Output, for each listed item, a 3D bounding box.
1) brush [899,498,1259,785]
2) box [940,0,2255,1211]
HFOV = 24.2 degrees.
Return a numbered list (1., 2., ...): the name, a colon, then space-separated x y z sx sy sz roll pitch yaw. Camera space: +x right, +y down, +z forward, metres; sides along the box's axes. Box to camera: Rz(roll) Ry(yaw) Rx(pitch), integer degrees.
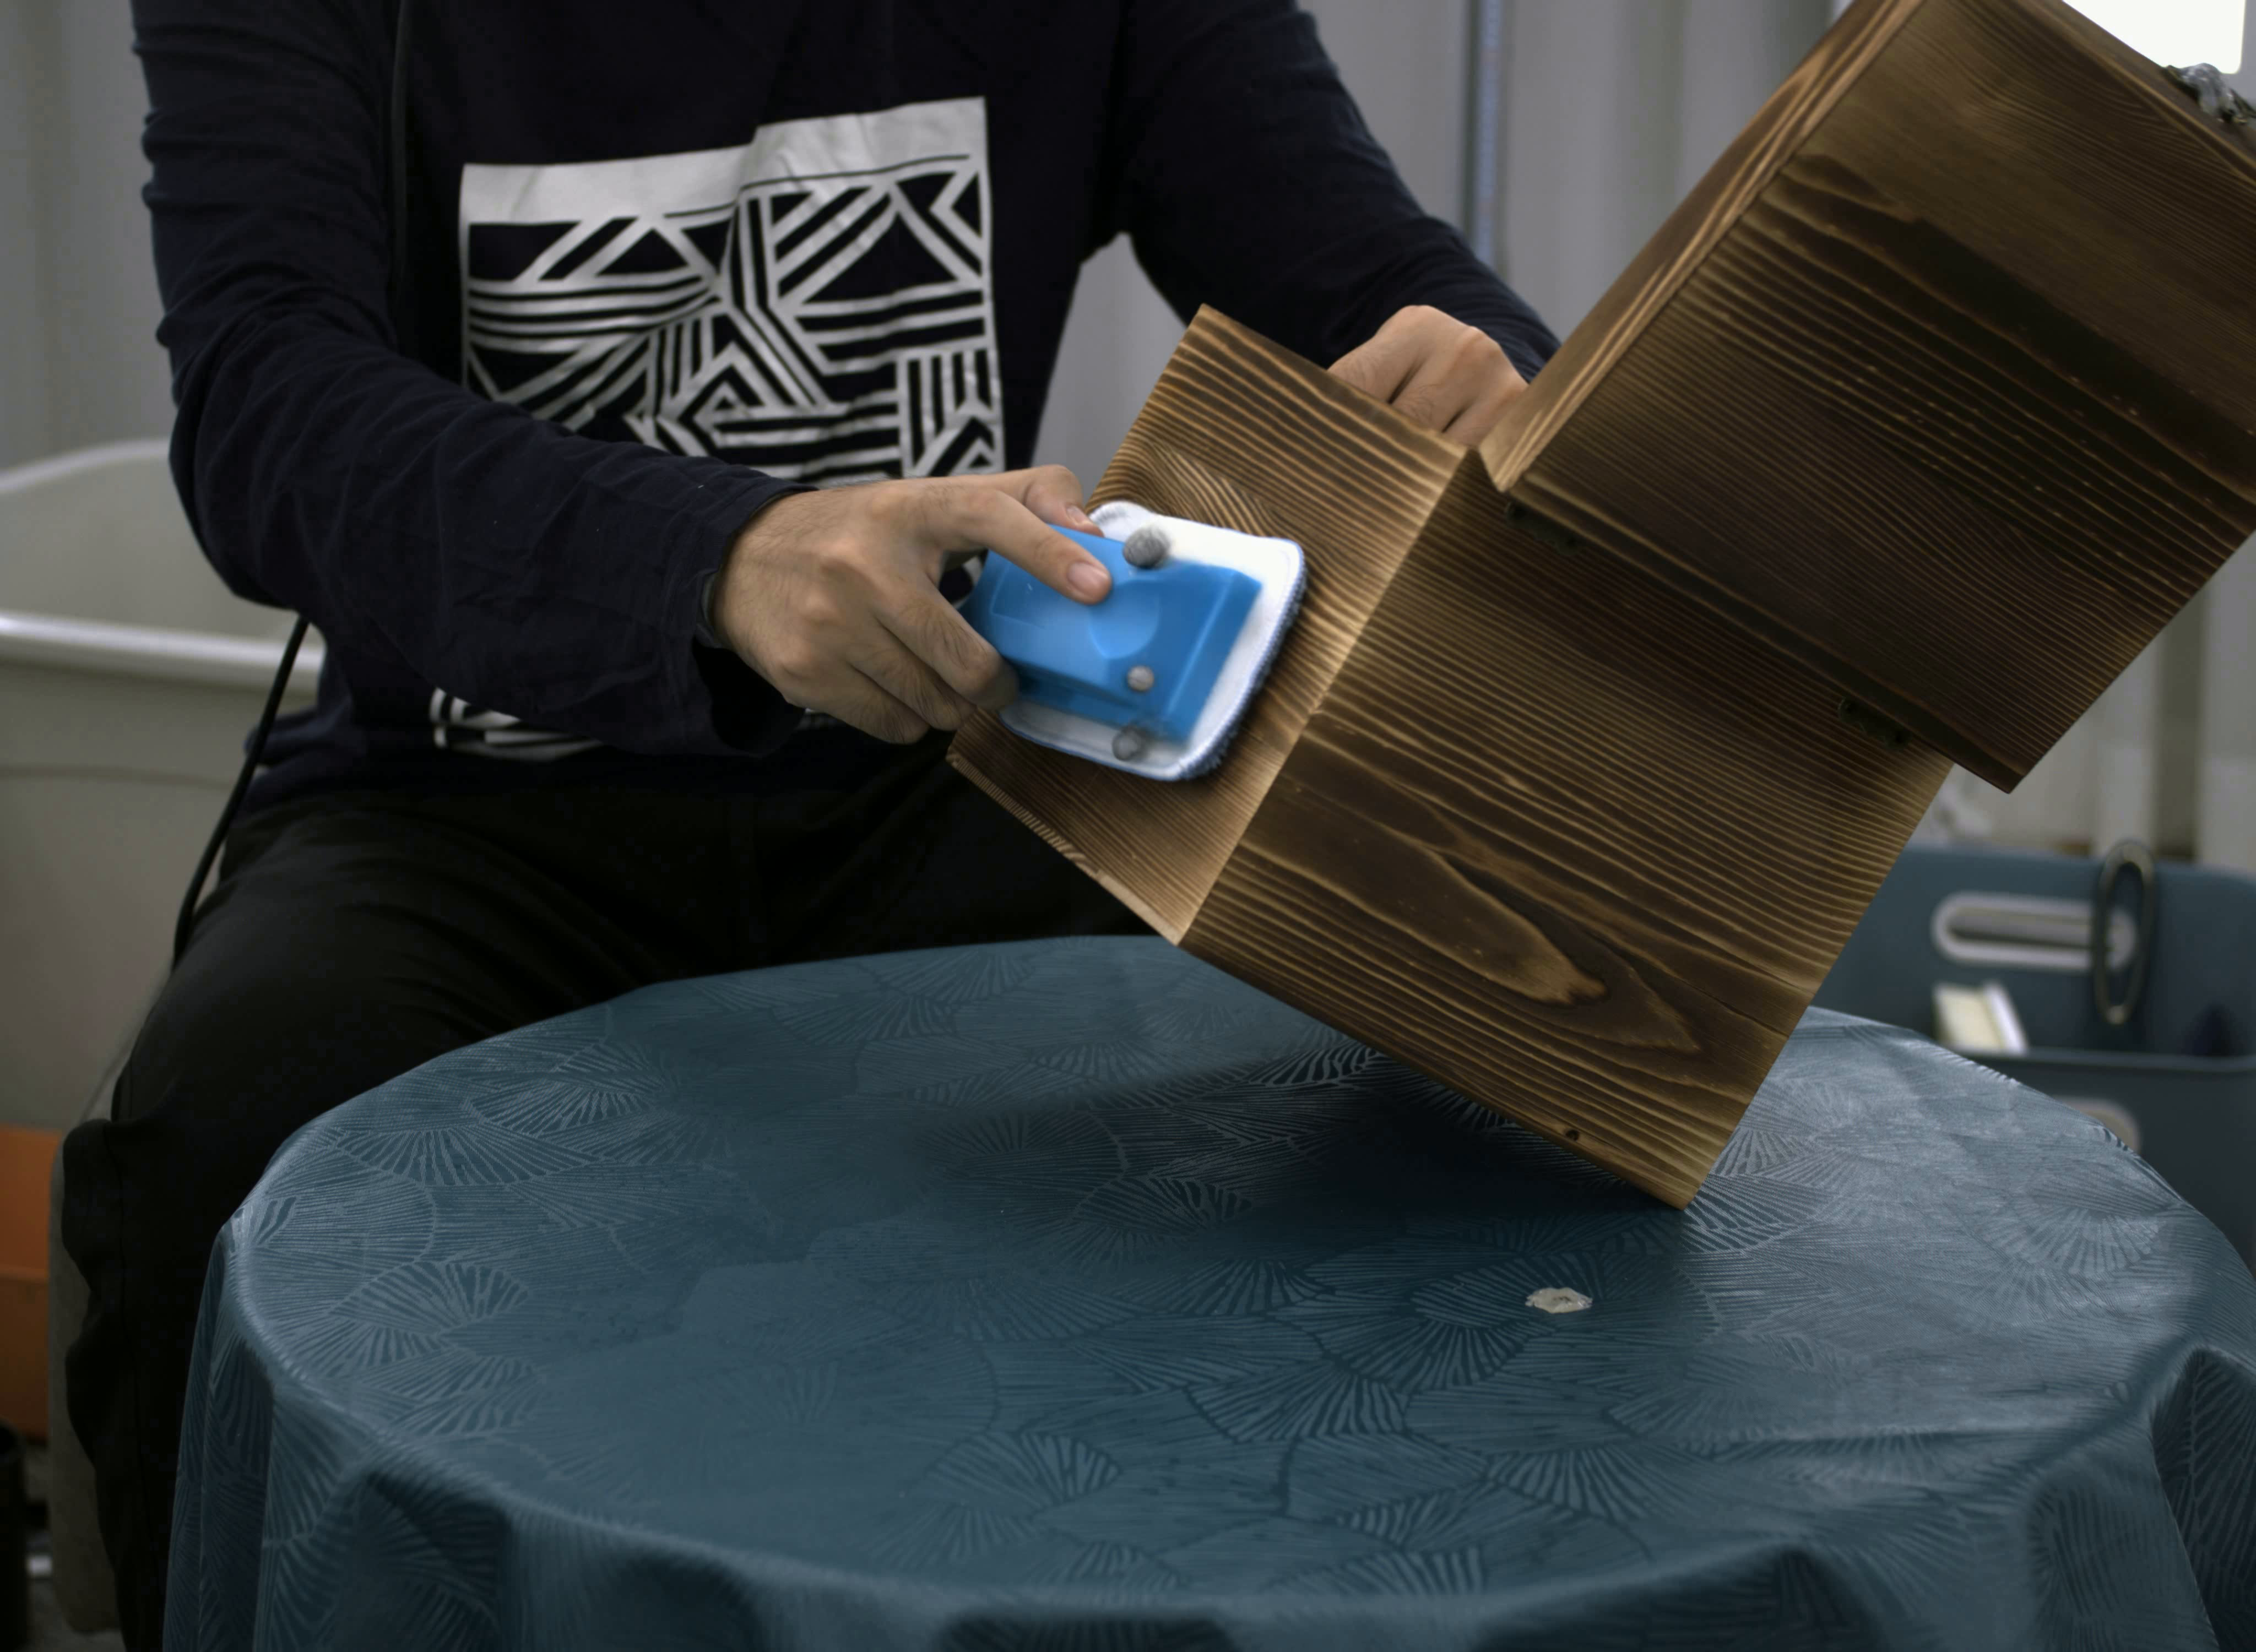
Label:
1. brush: -0.023 -0.061 1.583 0.056 0.084 0.142 33 -8 -32
2. box: 0.165 -0.093 1.596 0.211 0.376 0.318 28 5 -28
